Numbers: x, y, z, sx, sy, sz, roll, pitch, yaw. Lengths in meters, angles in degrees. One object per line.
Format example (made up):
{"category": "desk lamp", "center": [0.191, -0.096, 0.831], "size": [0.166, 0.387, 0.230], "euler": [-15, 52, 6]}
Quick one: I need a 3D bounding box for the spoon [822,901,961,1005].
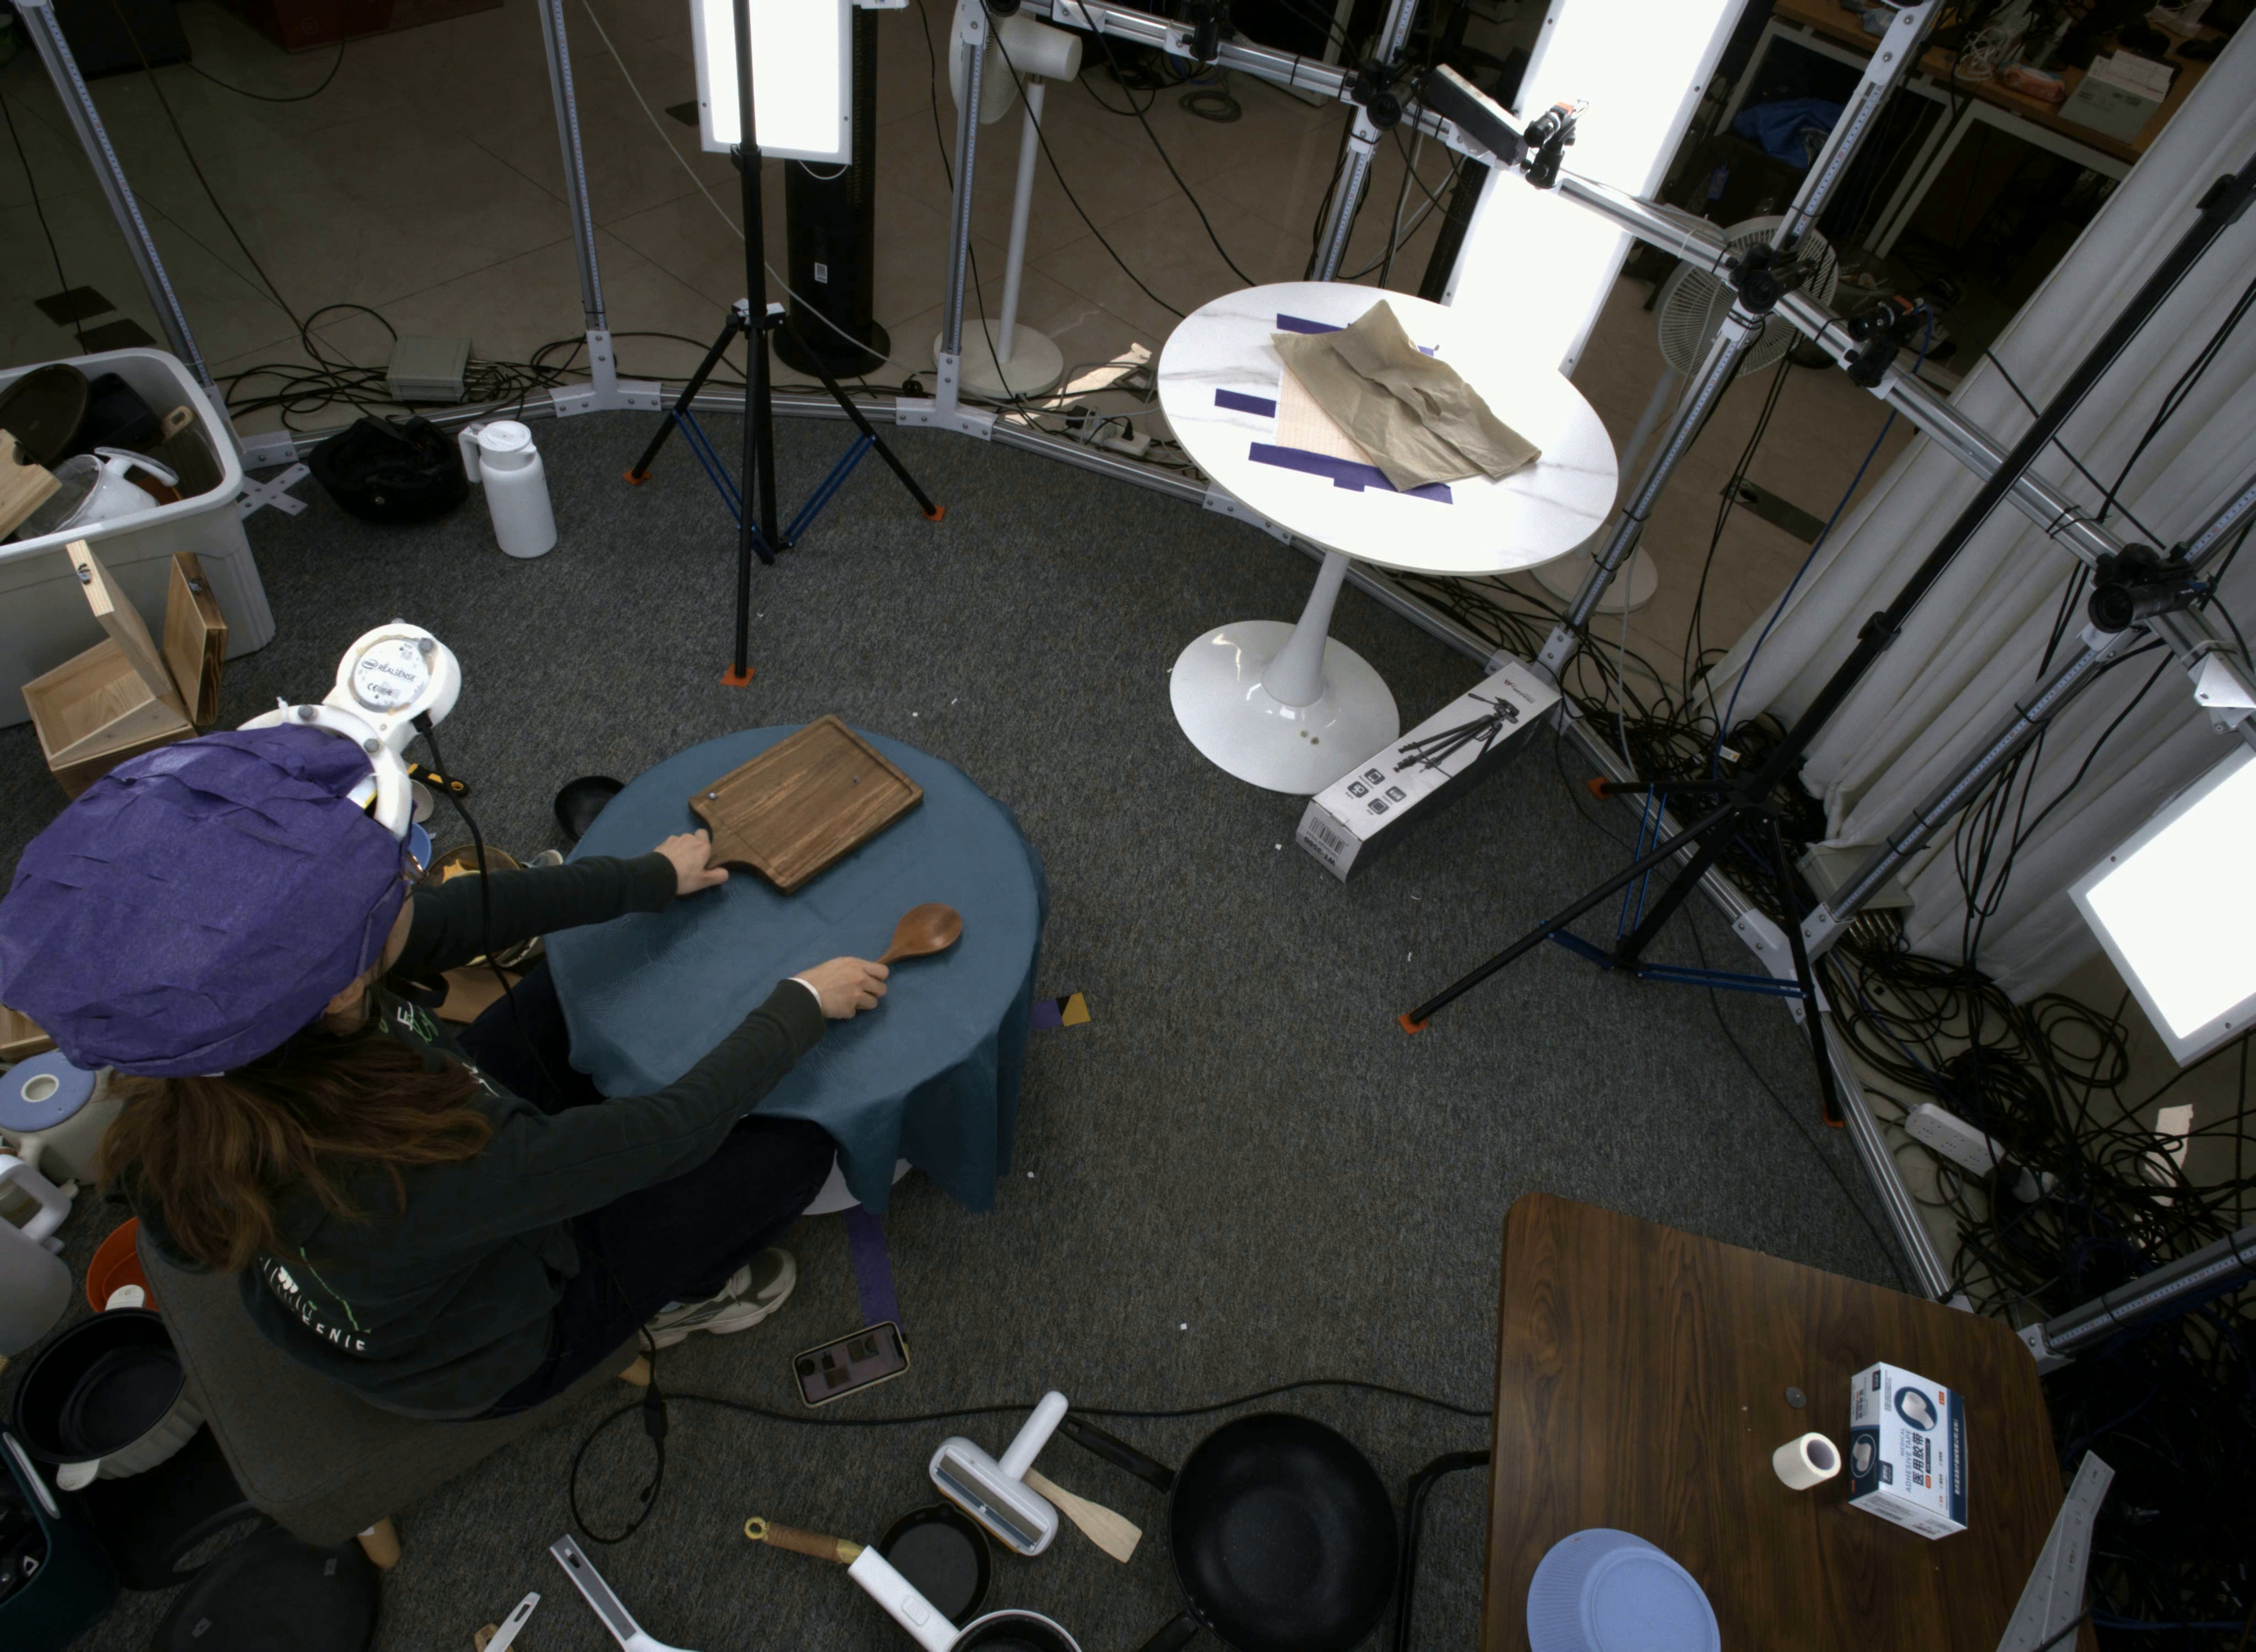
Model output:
{"category": "spoon", "center": [-0.295, 0.158, 1.622], "size": [0.074, 0.017, 0.216], "euler": [41, 48, 16]}

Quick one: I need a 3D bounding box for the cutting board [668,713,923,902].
{"category": "cutting board", "center": [-0.461, -0.010, 1.711], "size": [0.197, 0.023, 0.352], "euler": [40, 53, 15]}
